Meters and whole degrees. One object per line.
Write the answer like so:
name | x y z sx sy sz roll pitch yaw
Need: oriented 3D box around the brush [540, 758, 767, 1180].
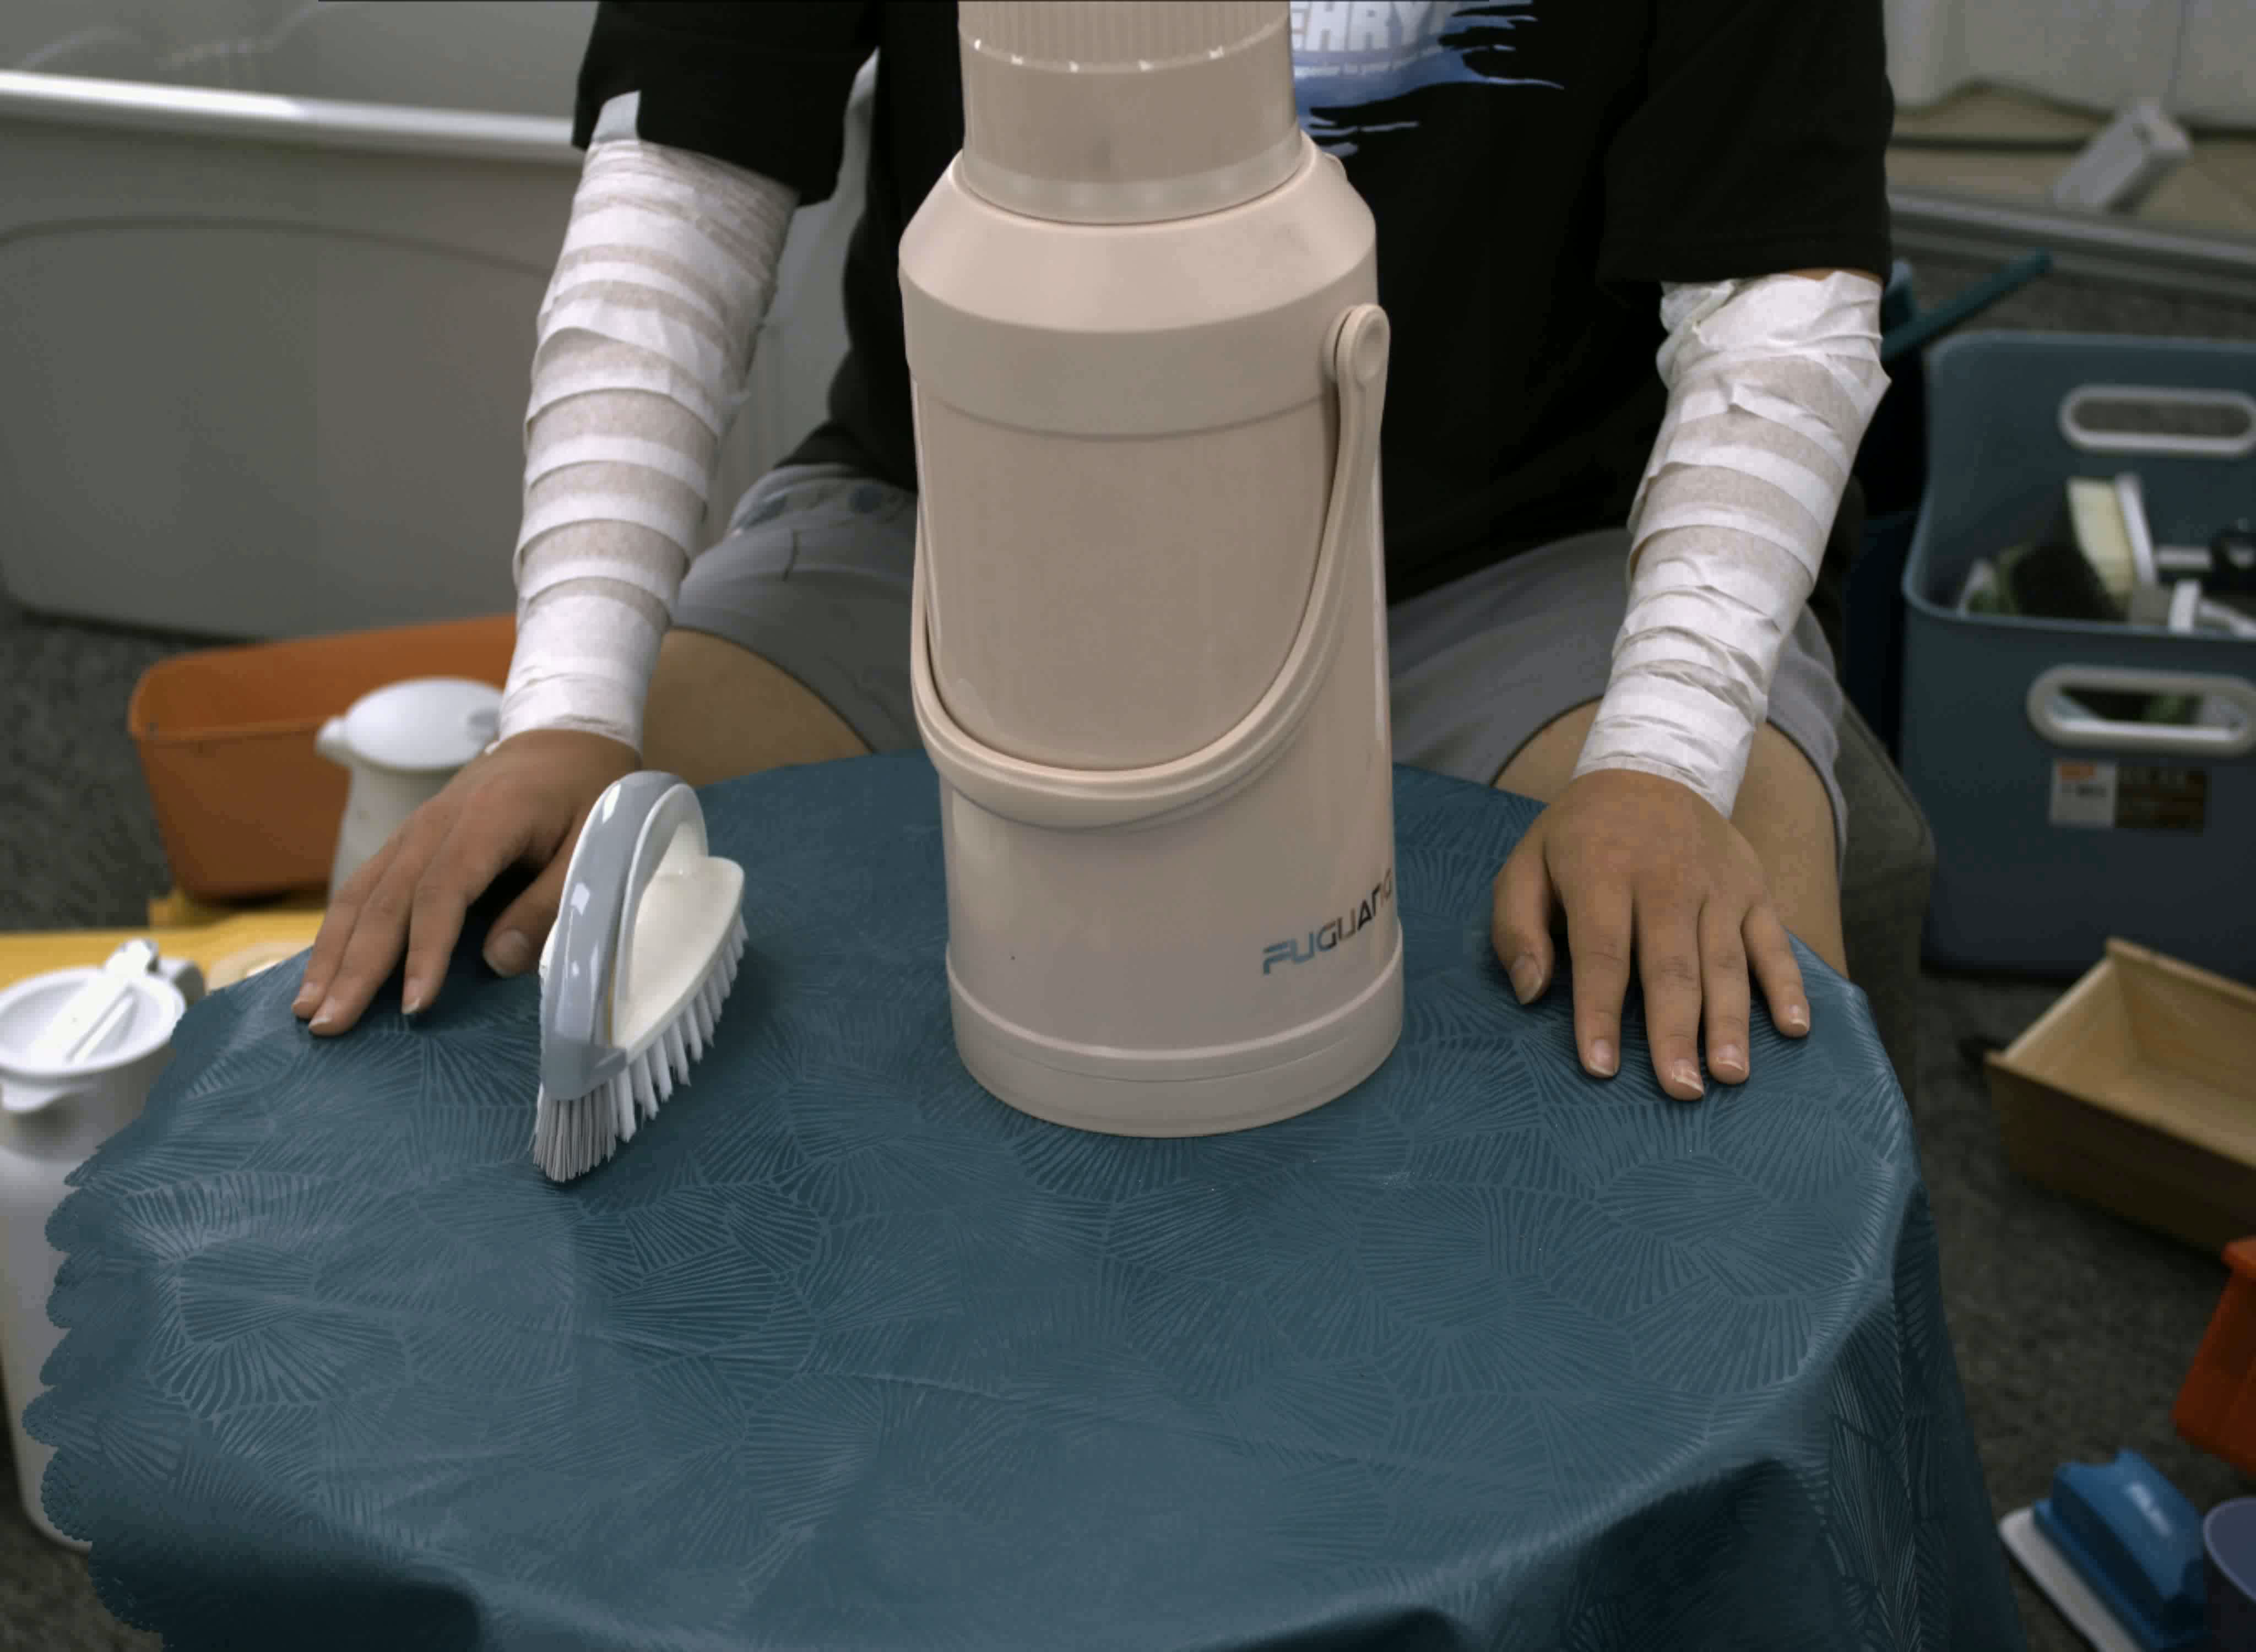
brush | -0.173 0.041 1.935 0.061 0.093 0.178 -3 28 13

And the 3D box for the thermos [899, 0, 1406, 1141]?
thermos | 0.017 -0.111 1.886 0.174 0.402 0.210 11 29 30
